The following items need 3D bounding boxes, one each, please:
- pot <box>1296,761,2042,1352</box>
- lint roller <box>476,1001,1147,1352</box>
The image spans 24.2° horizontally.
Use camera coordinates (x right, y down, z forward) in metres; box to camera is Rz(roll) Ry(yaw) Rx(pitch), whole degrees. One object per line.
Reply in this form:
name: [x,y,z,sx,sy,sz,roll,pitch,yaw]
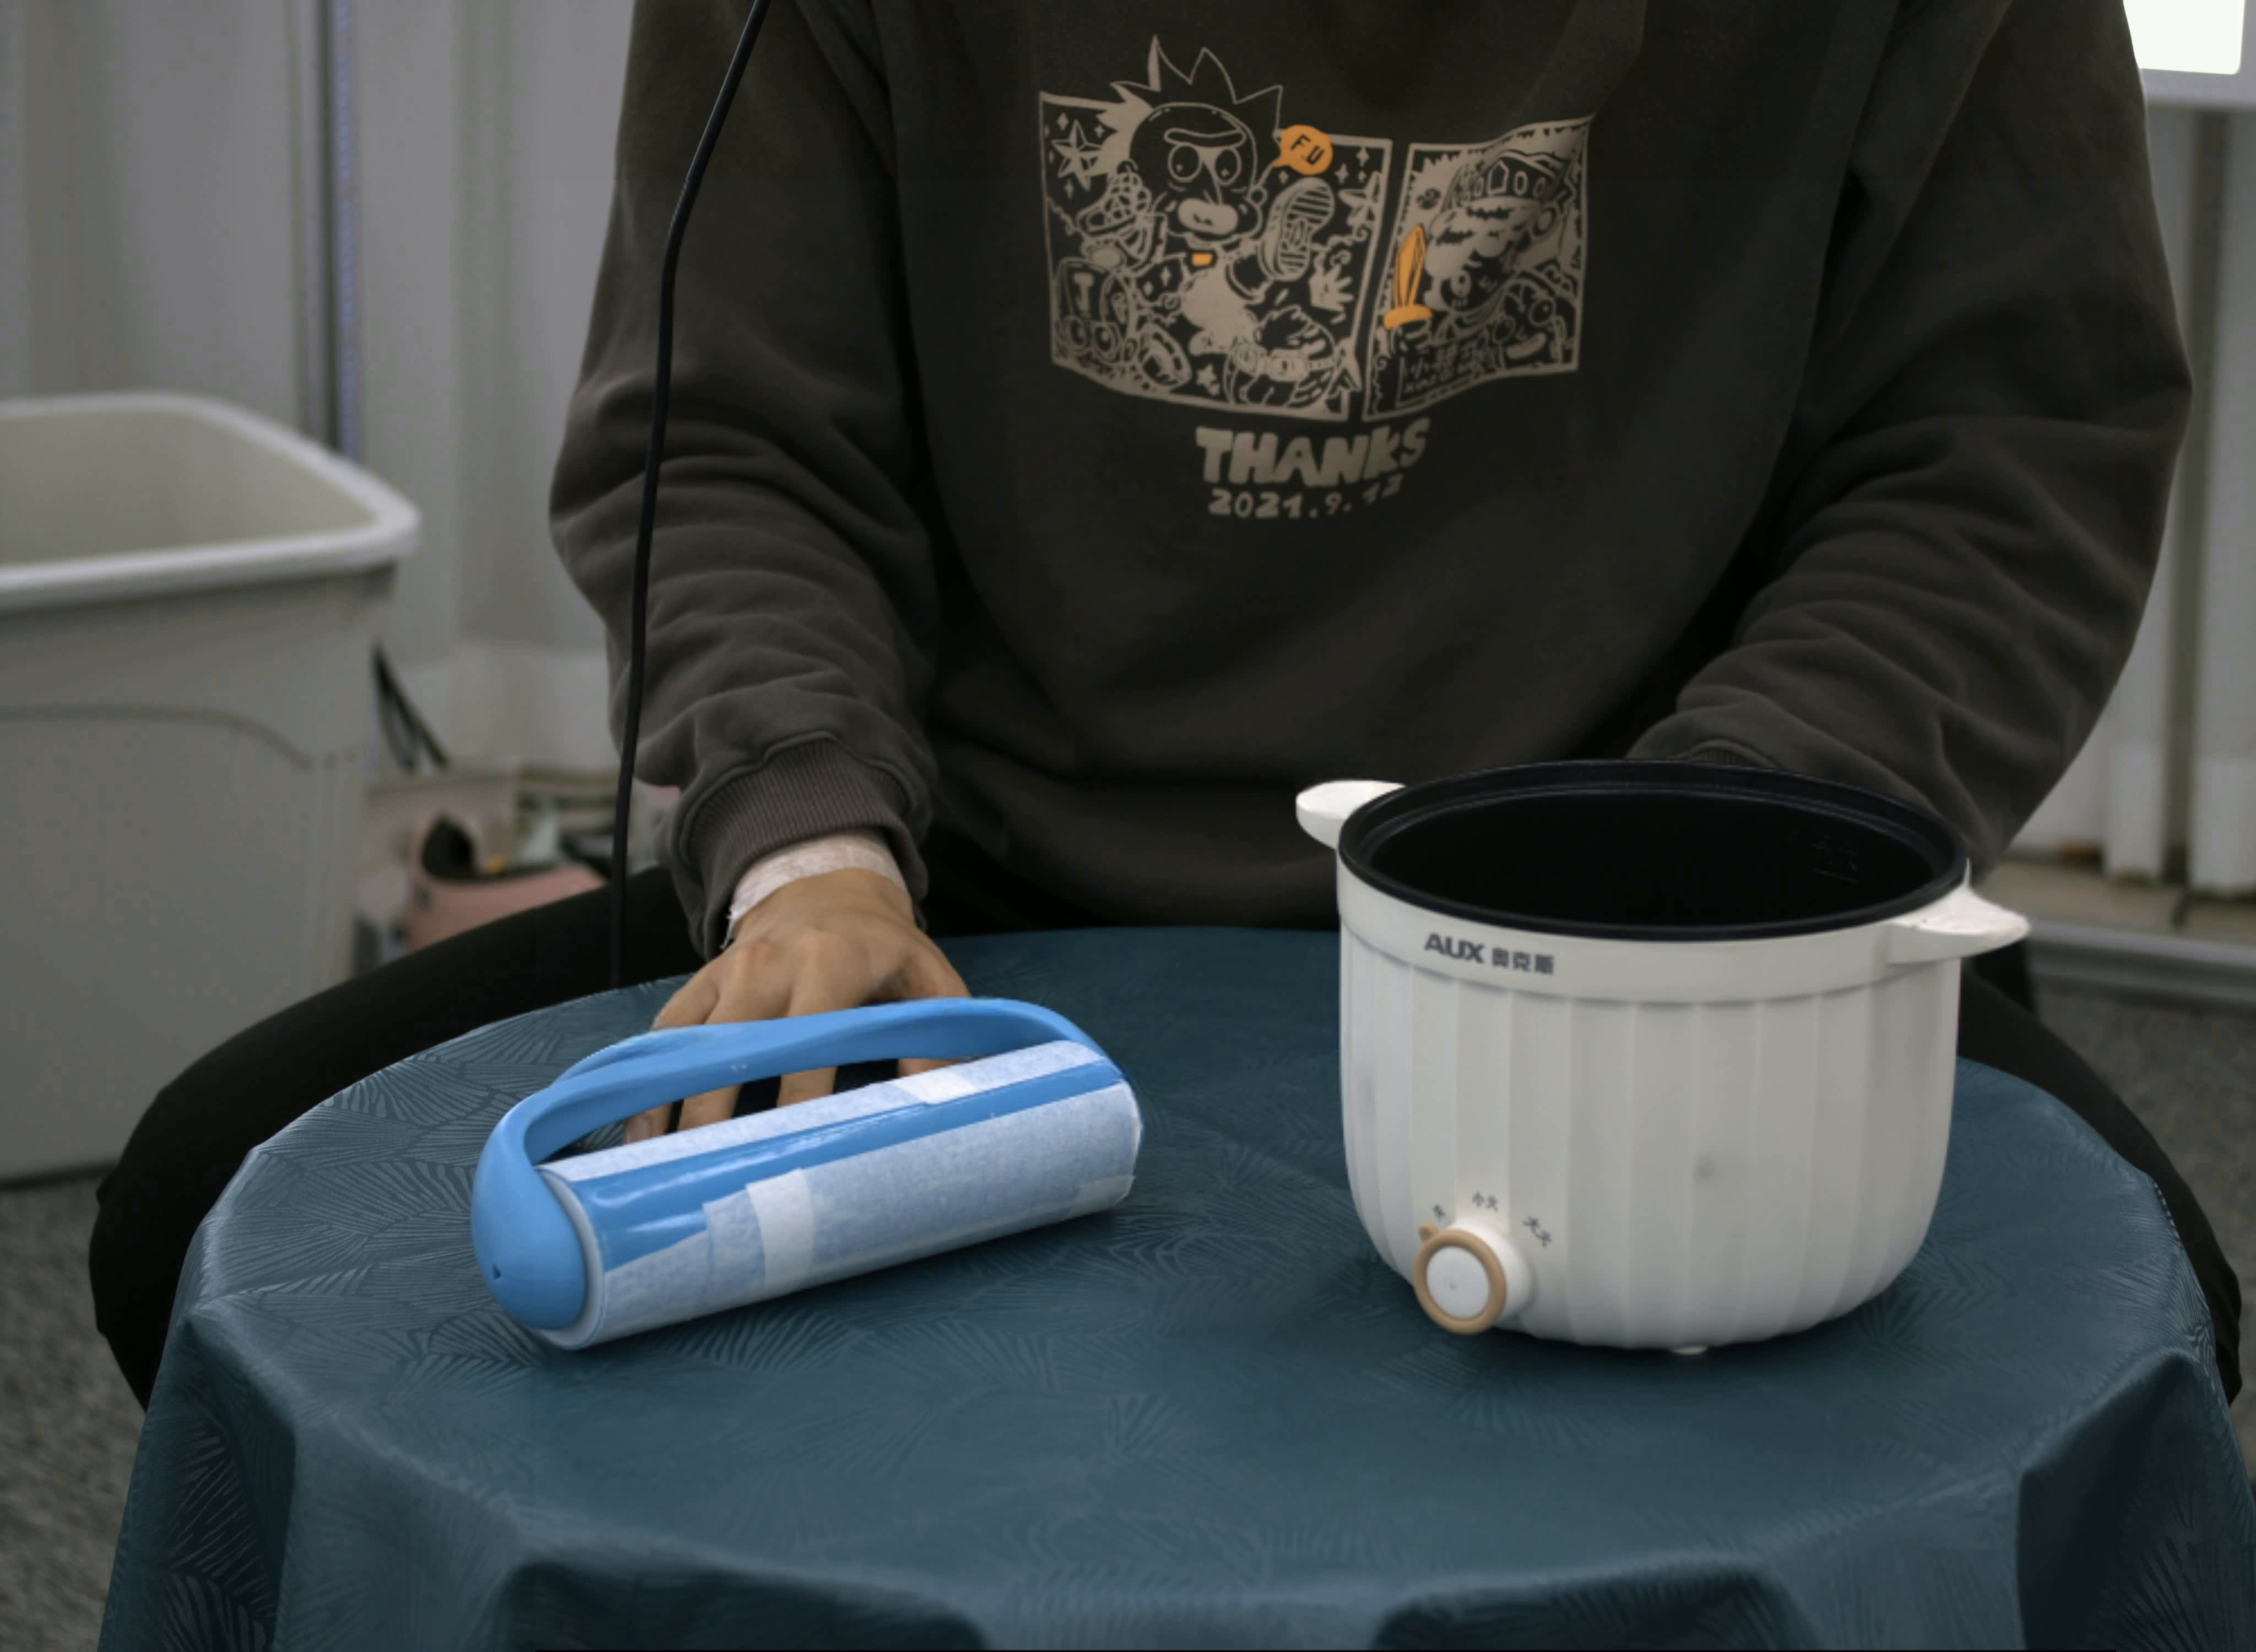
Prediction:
pot: [0.149,0.069,1.532,0.237,0.143,0.191,10,15,33]
lint roller: [-0.127,0.093,1.589,0.230,0.068,0.178,-14,23,-39]
